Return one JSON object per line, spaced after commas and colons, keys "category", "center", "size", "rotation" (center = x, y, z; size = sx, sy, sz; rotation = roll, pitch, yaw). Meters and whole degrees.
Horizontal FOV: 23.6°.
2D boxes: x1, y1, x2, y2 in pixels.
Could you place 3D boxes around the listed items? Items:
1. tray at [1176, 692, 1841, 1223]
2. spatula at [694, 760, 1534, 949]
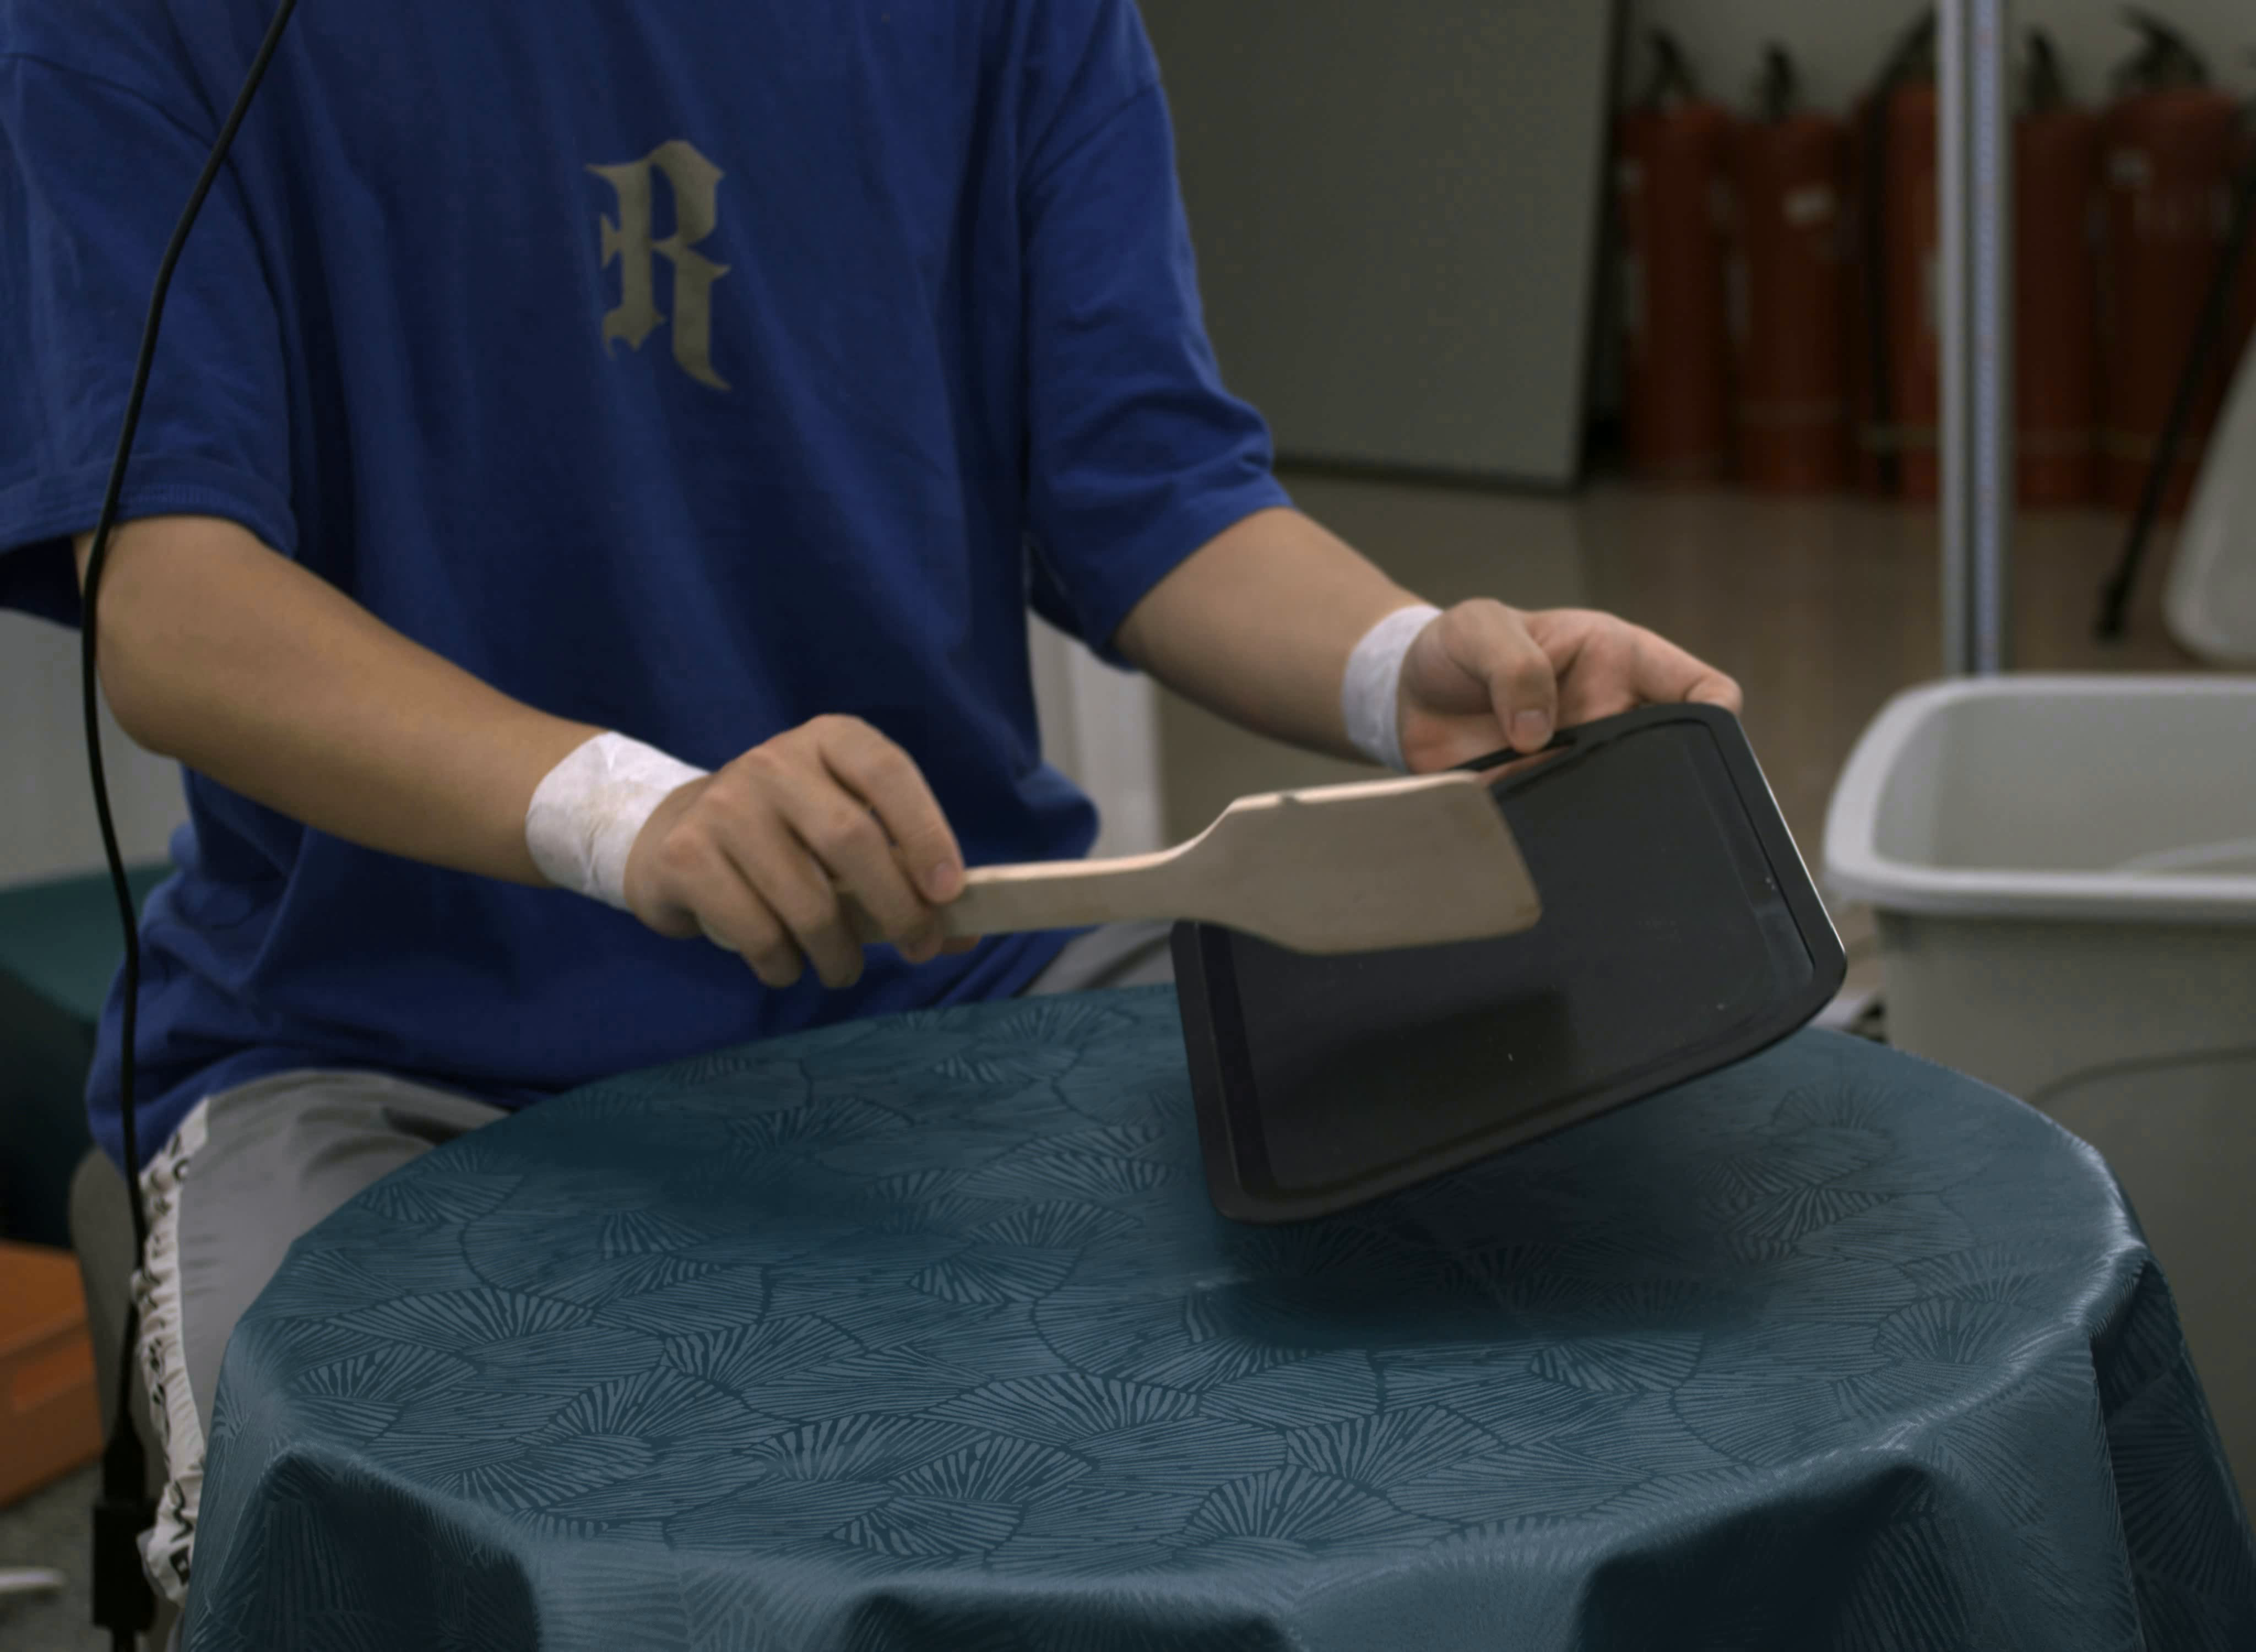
{"category": "tray", "center": [0.115, 0.034, 1.747], "size": [0.210, 0.010, 0.326], "rotation": [-22, 20, 7]}
{"category": "spatula", "center": [-0.013, 0.018, 1.742], "size": [0.293, 0.072, 0.011], "rotation": [-6, 43, 26]}
